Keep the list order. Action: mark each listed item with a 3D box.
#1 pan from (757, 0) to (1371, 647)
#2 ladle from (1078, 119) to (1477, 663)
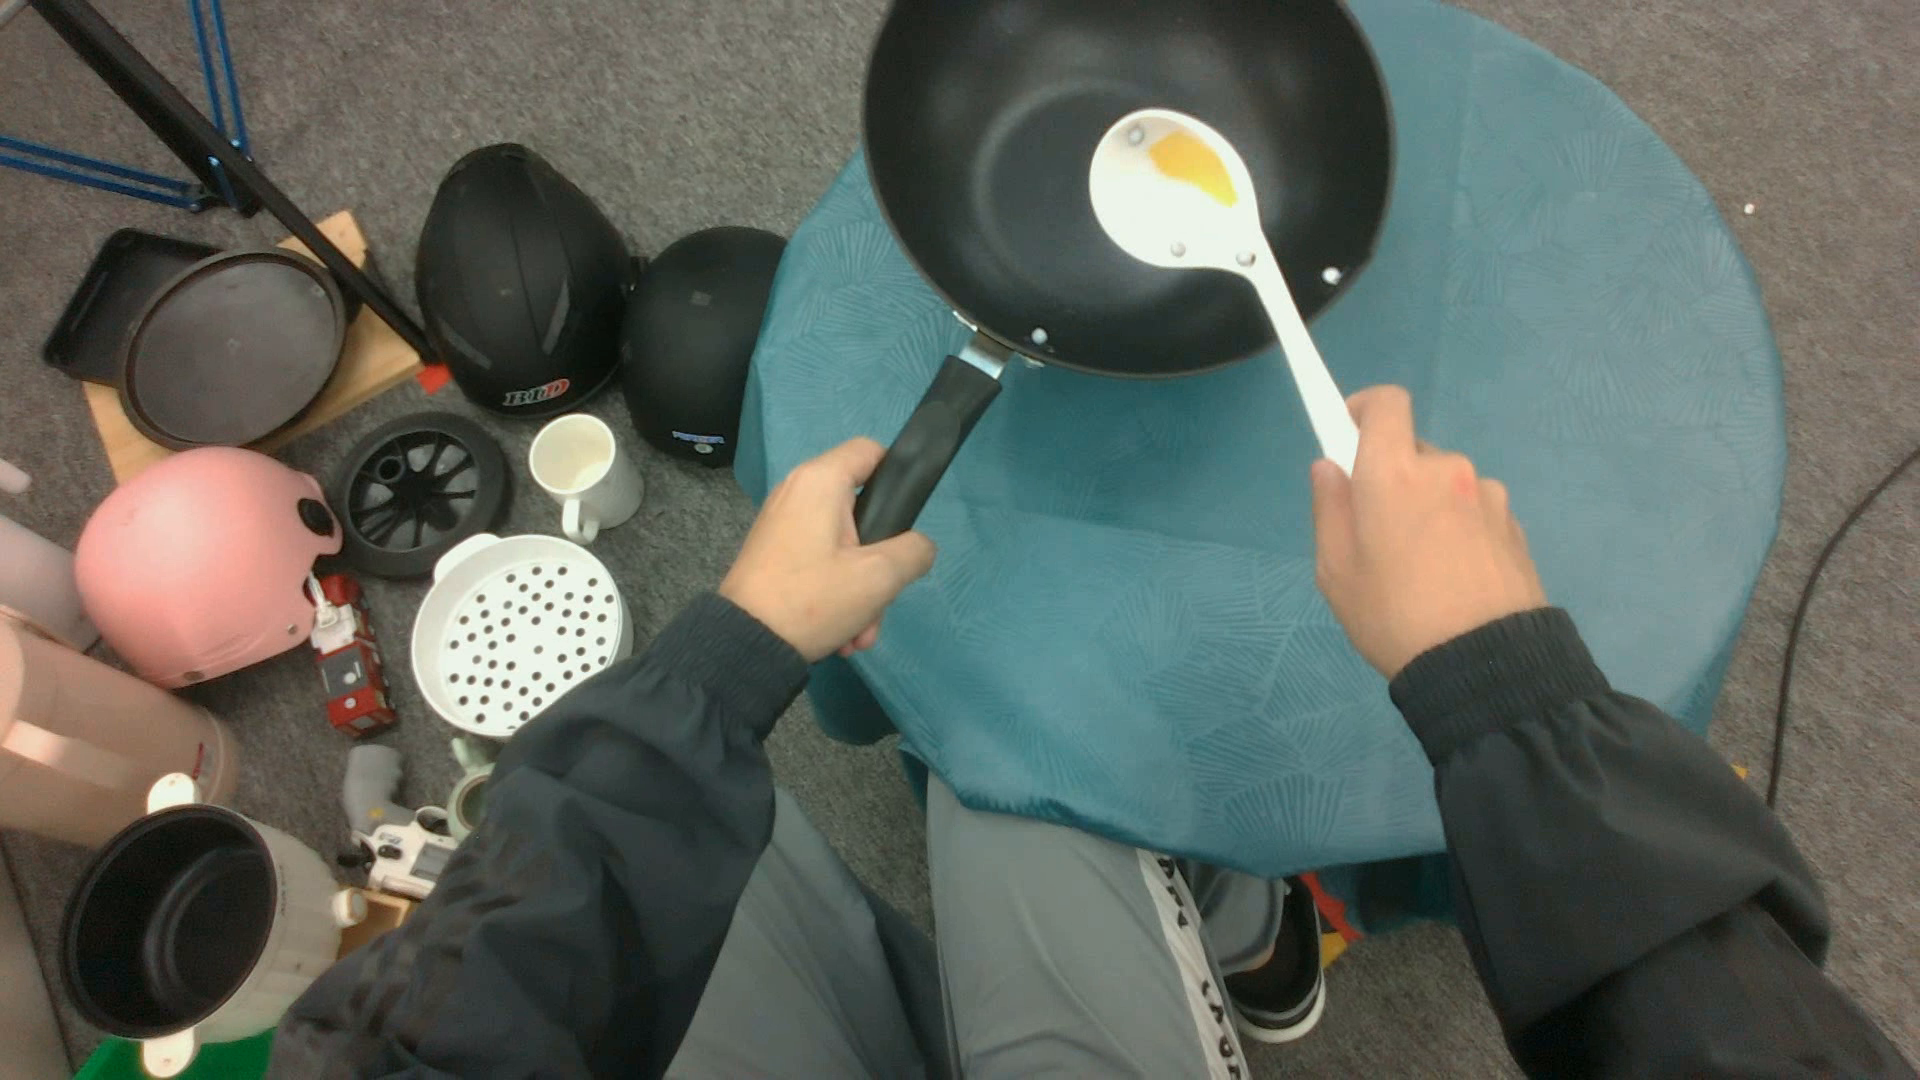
[{"bbox_3d":[0.032,-0.137,0.747,0.288,0.086,0.464,30,78,3],"label":"pan"},{"bbox_3d":[0.149,-0.074,0.657,0.070,0.089,0.293,-11,67,-28],"label":"ladle"}]
